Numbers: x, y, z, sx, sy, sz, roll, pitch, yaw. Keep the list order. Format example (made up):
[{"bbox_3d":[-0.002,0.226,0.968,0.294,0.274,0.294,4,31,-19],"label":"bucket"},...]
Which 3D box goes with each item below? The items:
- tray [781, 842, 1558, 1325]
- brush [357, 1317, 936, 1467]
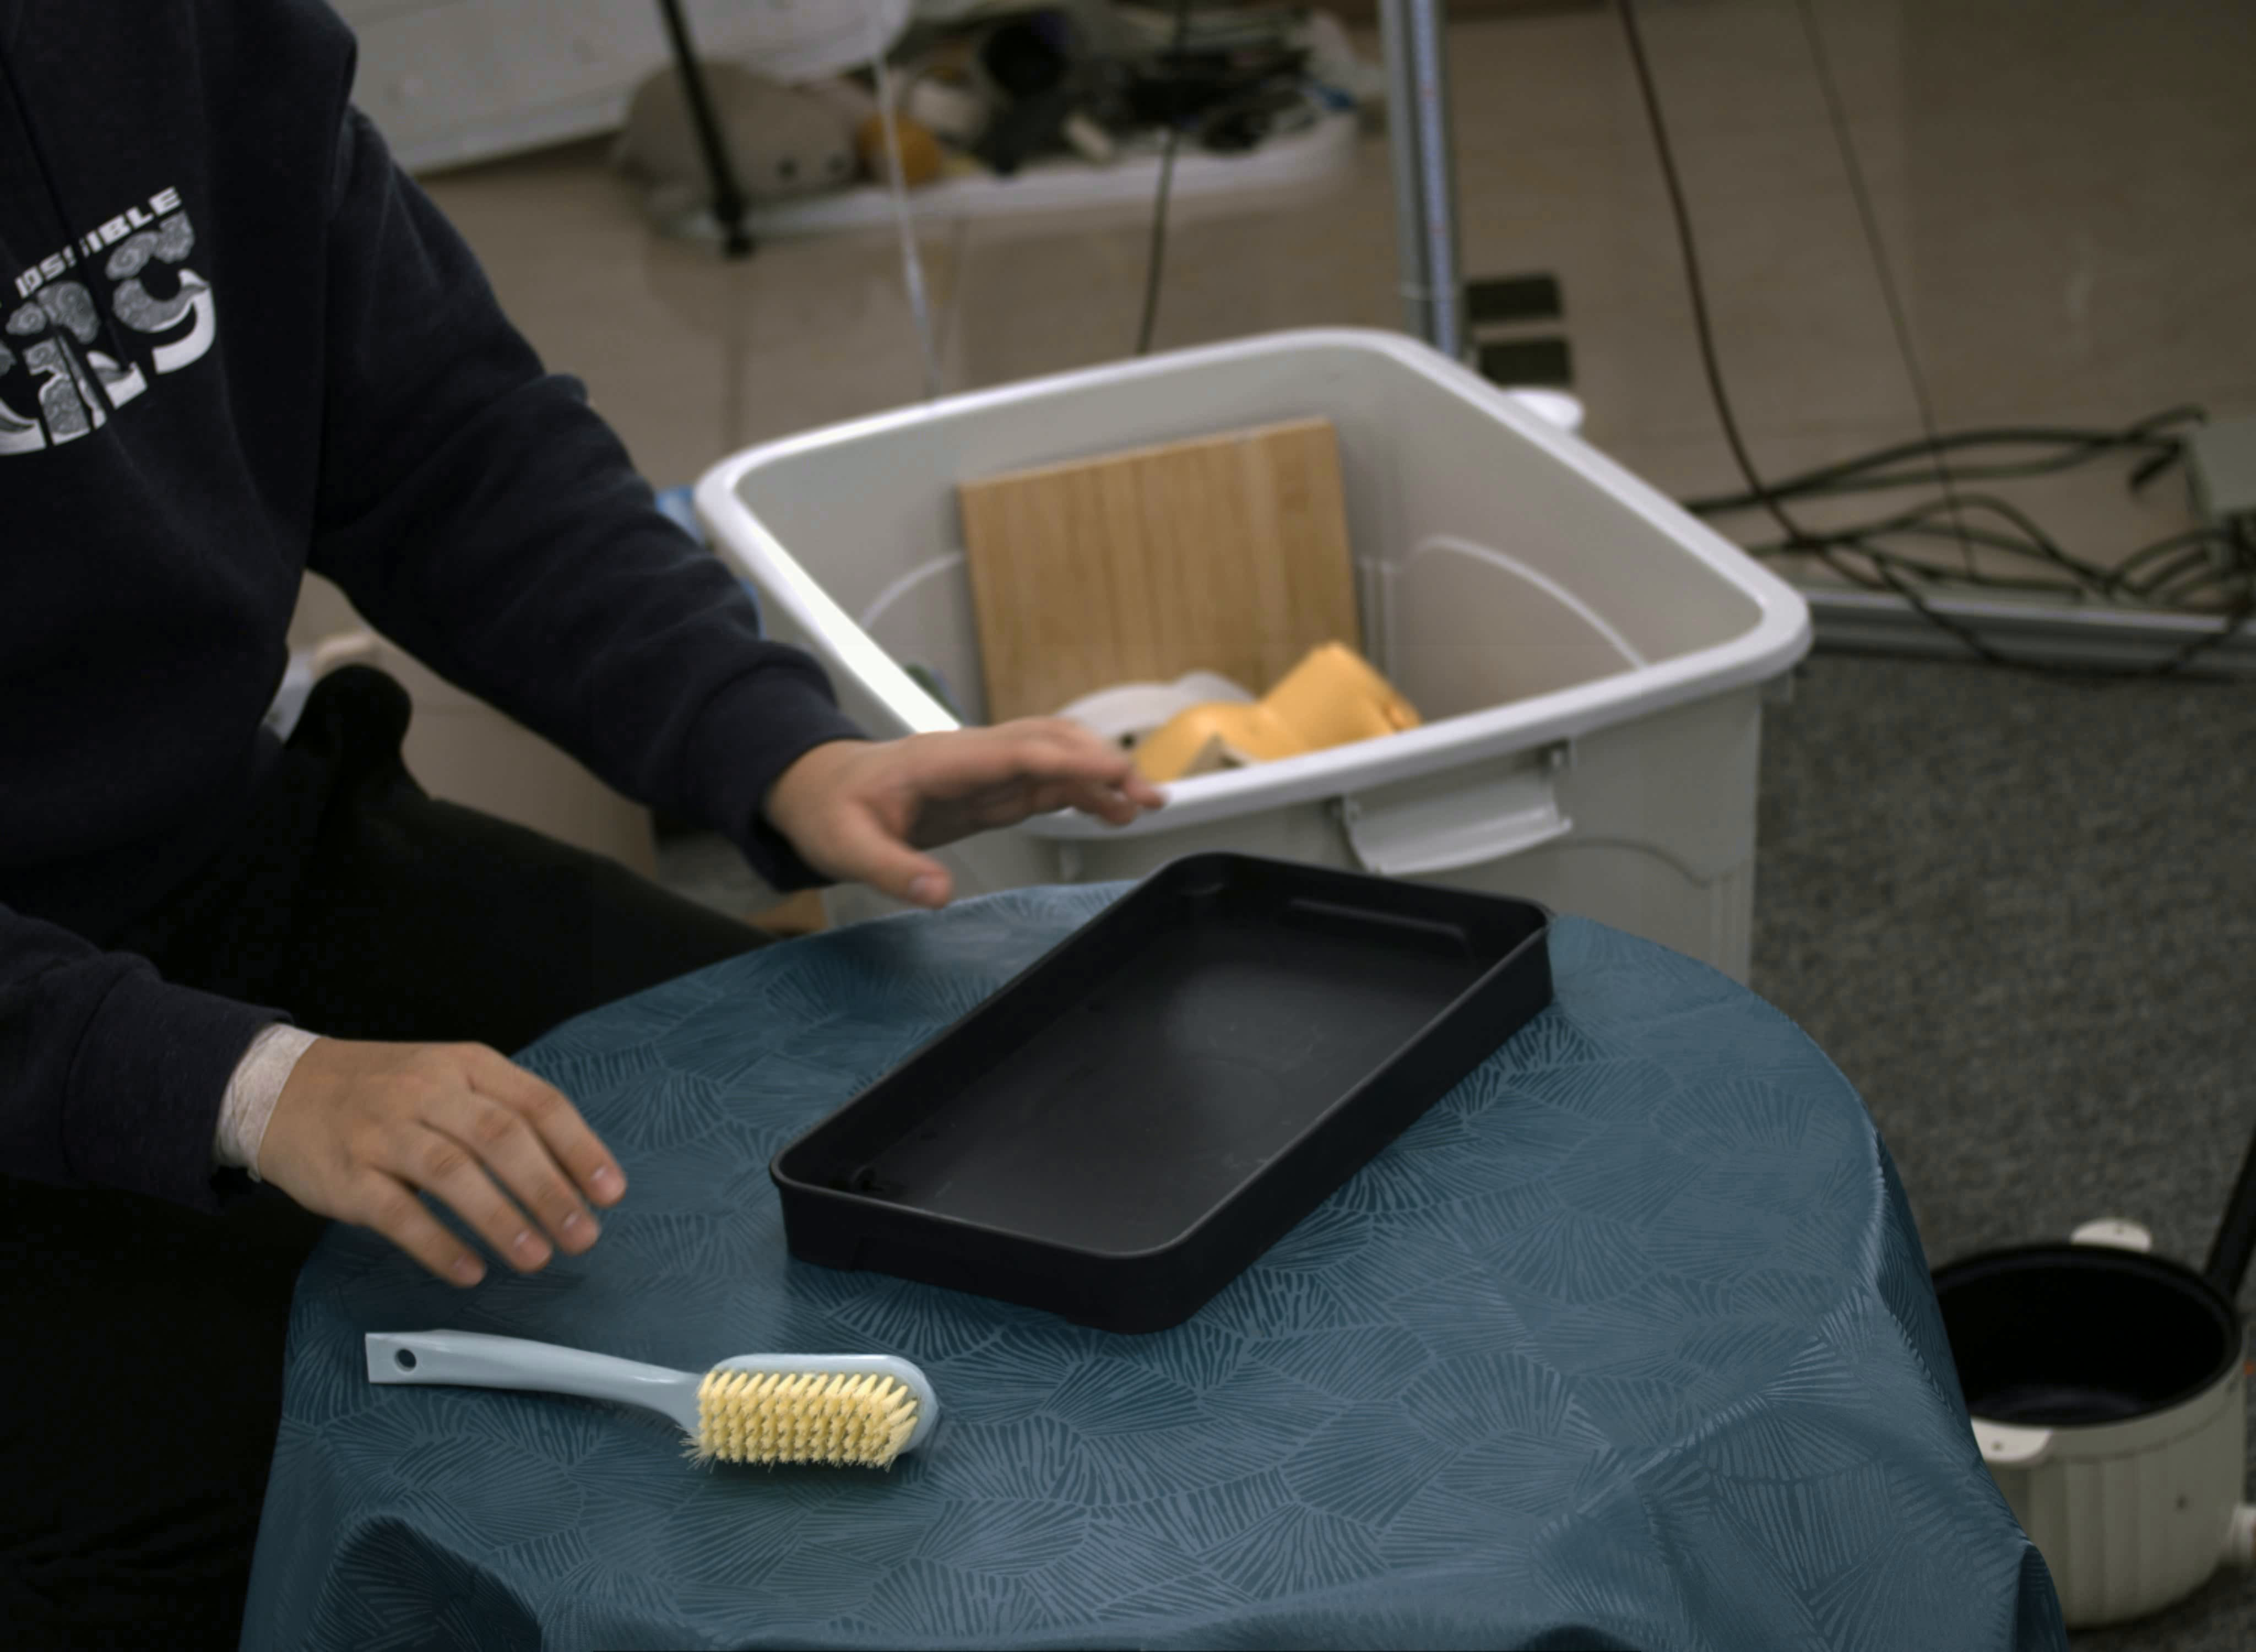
[{"bbox_3d":[0.022,0.094,2.198,0.183,0.037,0.314,9,29,31],"label":"tray"},{"bbox_3d":[-0.178,0.198,2.016,0.228,0.038,0.049,6,22,24],"label":"brush"}]
